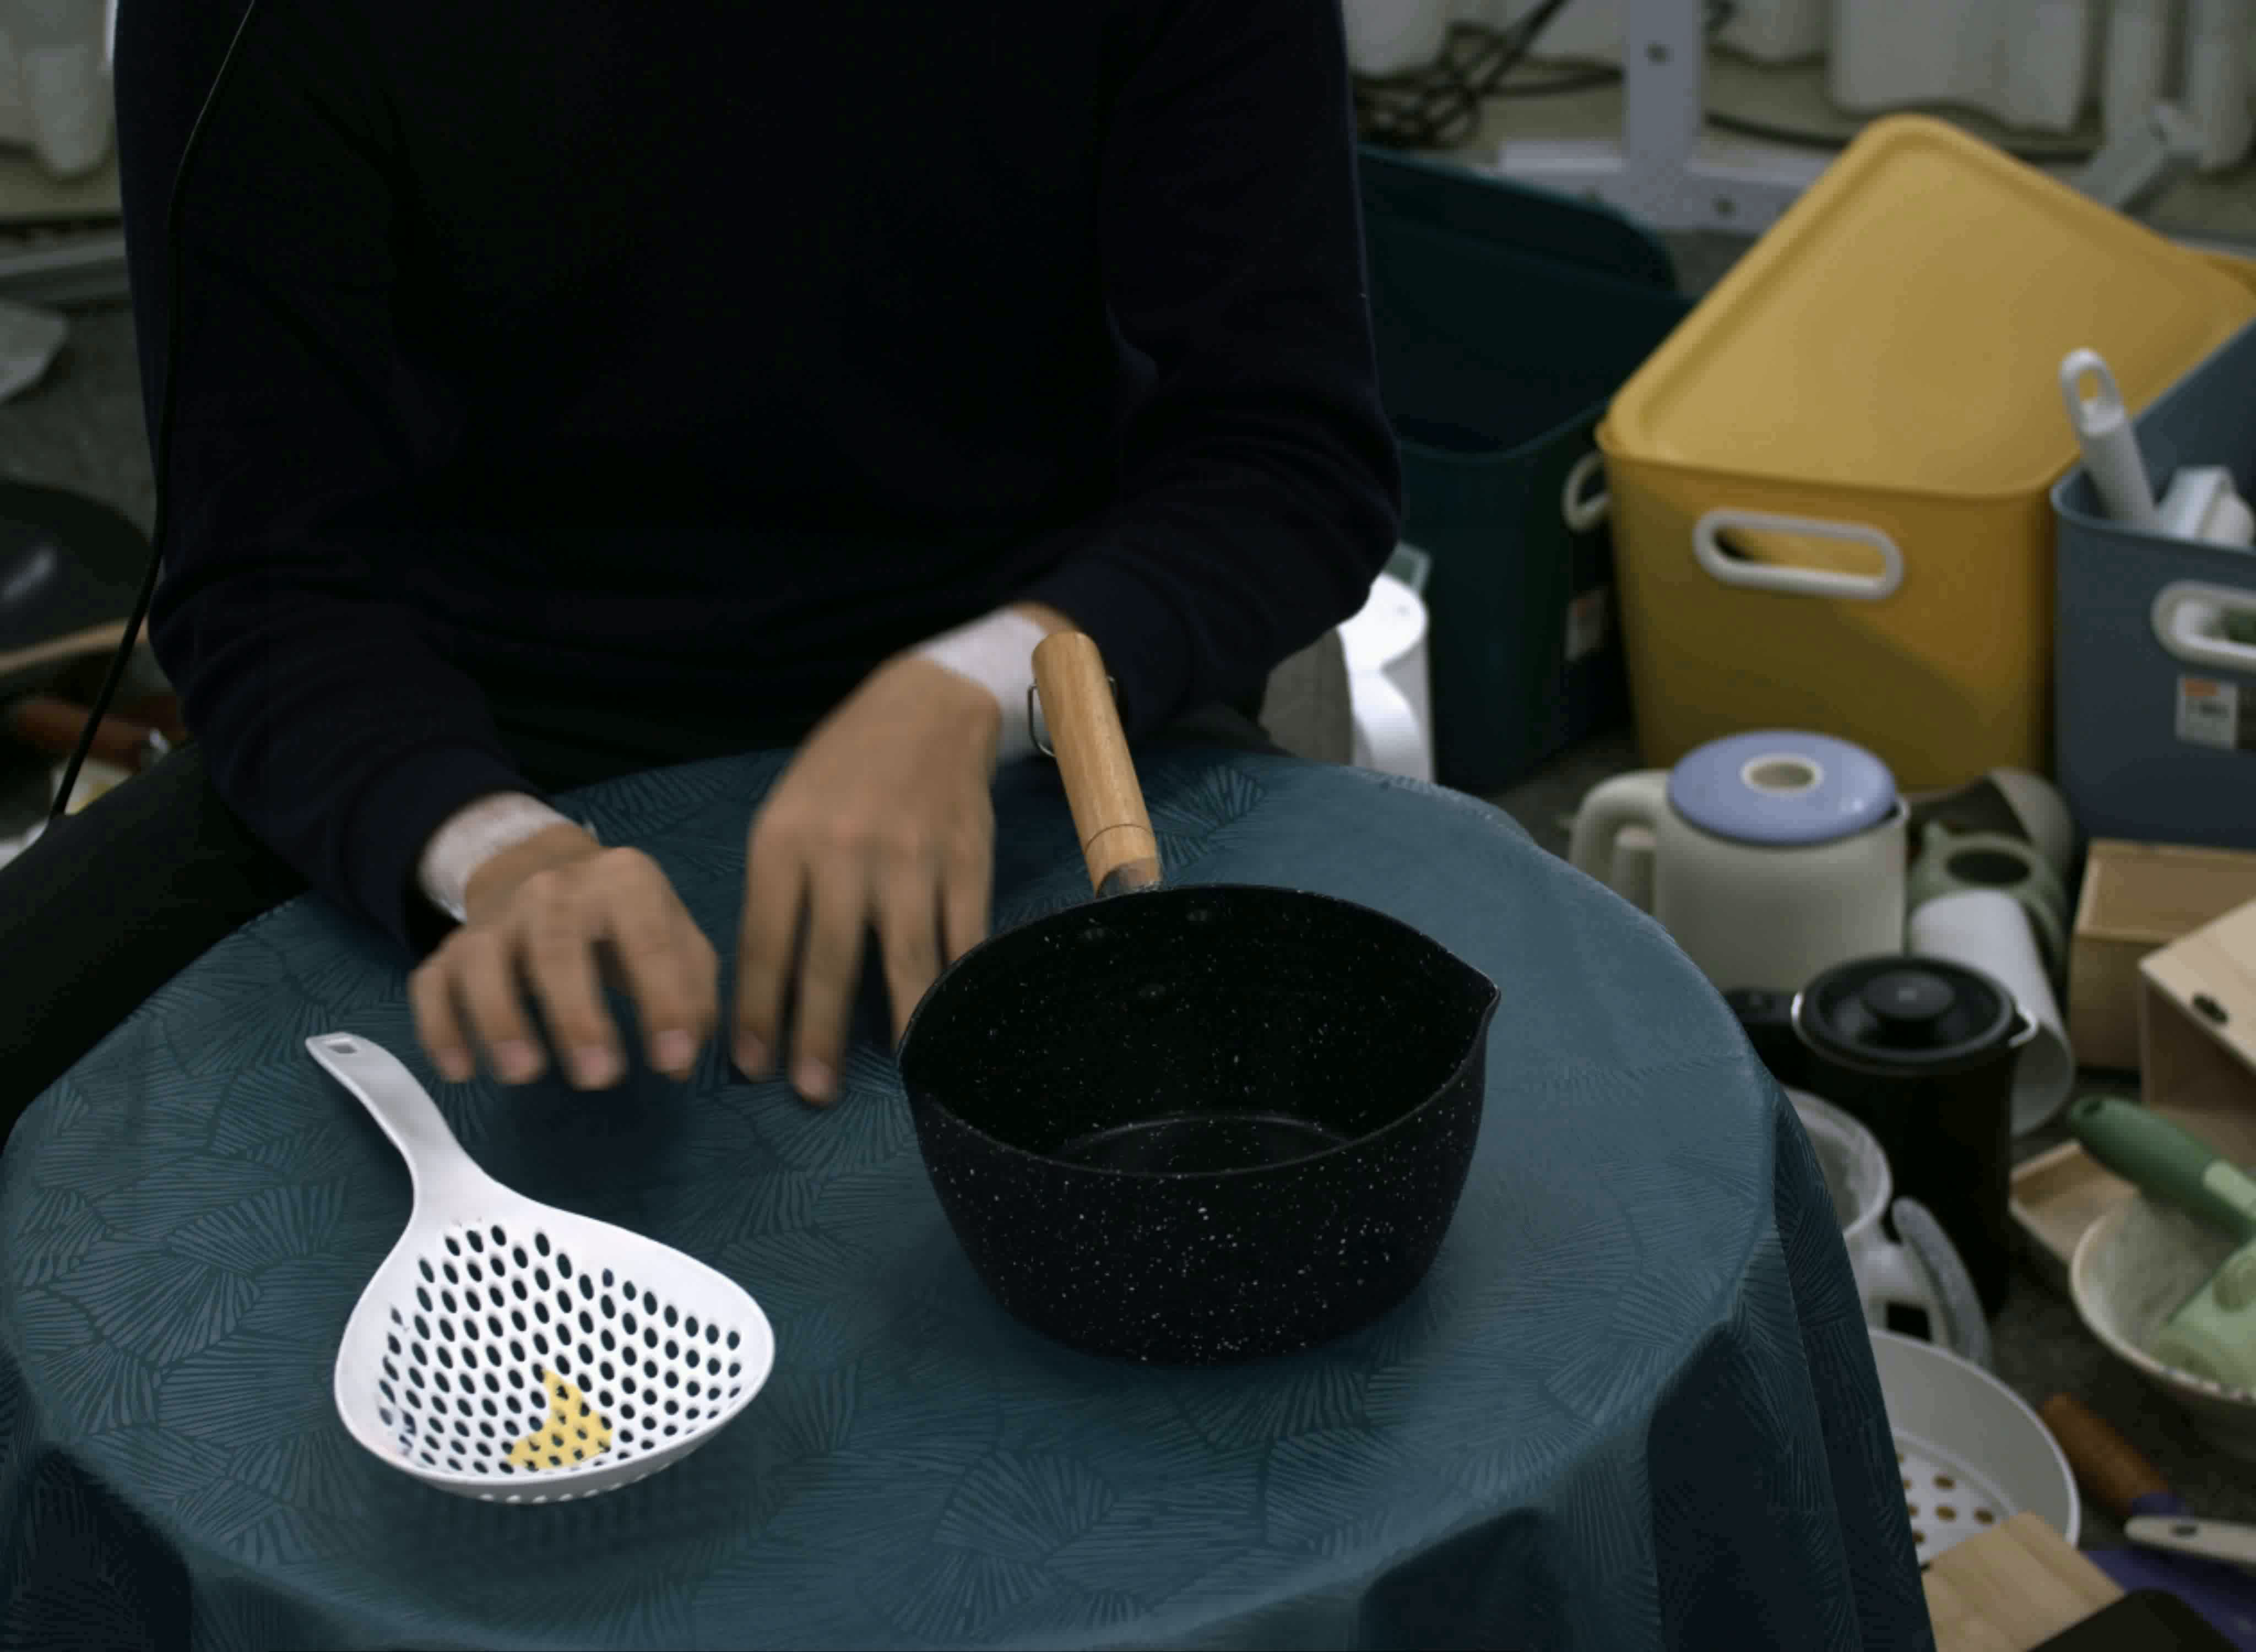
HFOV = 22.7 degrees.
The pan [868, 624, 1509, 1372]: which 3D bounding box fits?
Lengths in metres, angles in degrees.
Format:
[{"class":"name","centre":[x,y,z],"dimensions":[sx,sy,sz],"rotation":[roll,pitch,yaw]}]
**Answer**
[{"class":"pan","centre":[0.008,0.053,1.877],"dimensions":[0.207,0.107,0.347],"rotation":[-9,29,-8]}]

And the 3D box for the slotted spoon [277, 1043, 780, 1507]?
[{"class":"slotted spoon","centre":[-0.217,0.132,1.817],"dimensions":[0.137,0.050,0.350],"rotation":[-15,31,-18]}]
